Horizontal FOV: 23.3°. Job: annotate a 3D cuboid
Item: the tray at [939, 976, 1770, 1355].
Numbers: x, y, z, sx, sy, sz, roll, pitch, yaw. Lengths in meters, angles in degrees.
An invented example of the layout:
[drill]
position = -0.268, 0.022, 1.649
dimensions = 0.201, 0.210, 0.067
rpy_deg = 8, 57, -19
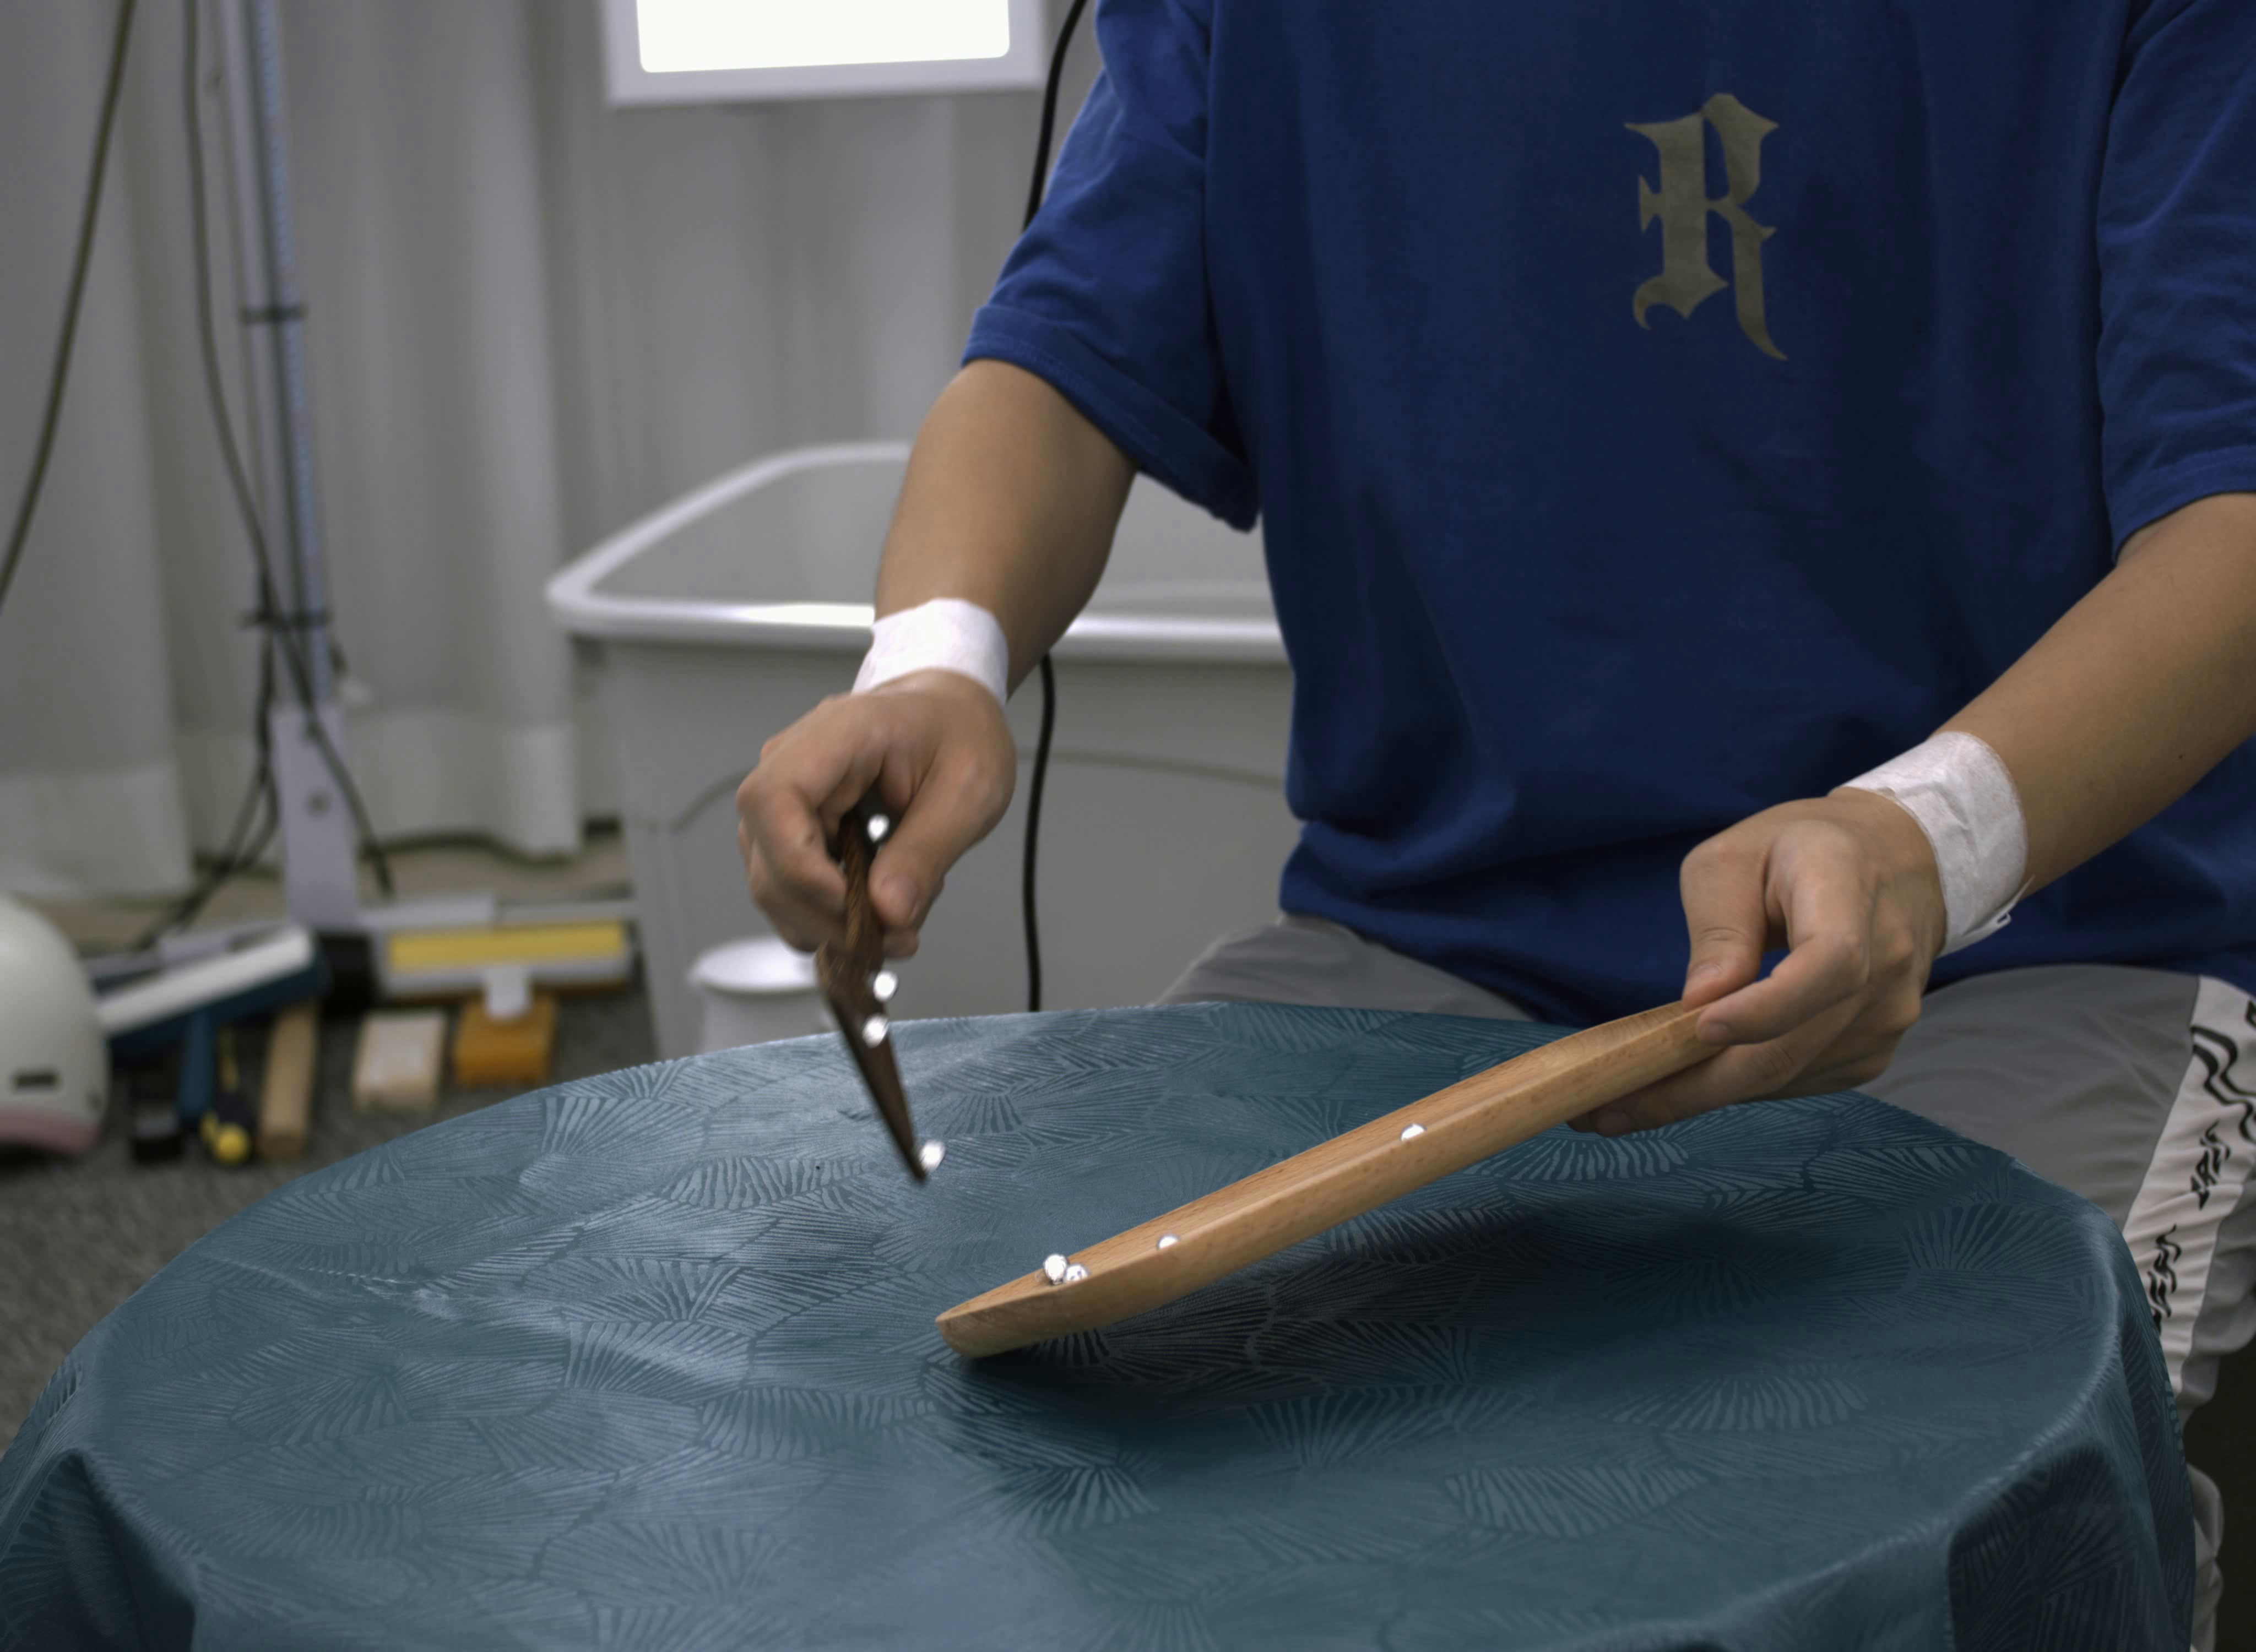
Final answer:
[tray]
position = 0.068, 0.099, 1.586
dimensions = 0.250, 0.023, 0.130
rpy_deg = -21, 2, -28

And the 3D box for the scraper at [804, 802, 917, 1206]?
[scraper]
position = -0.086, 0.046, 1.734
dimensions = 0.011, 0.075, 0.213
rpy_deg = -21, 24, 6
